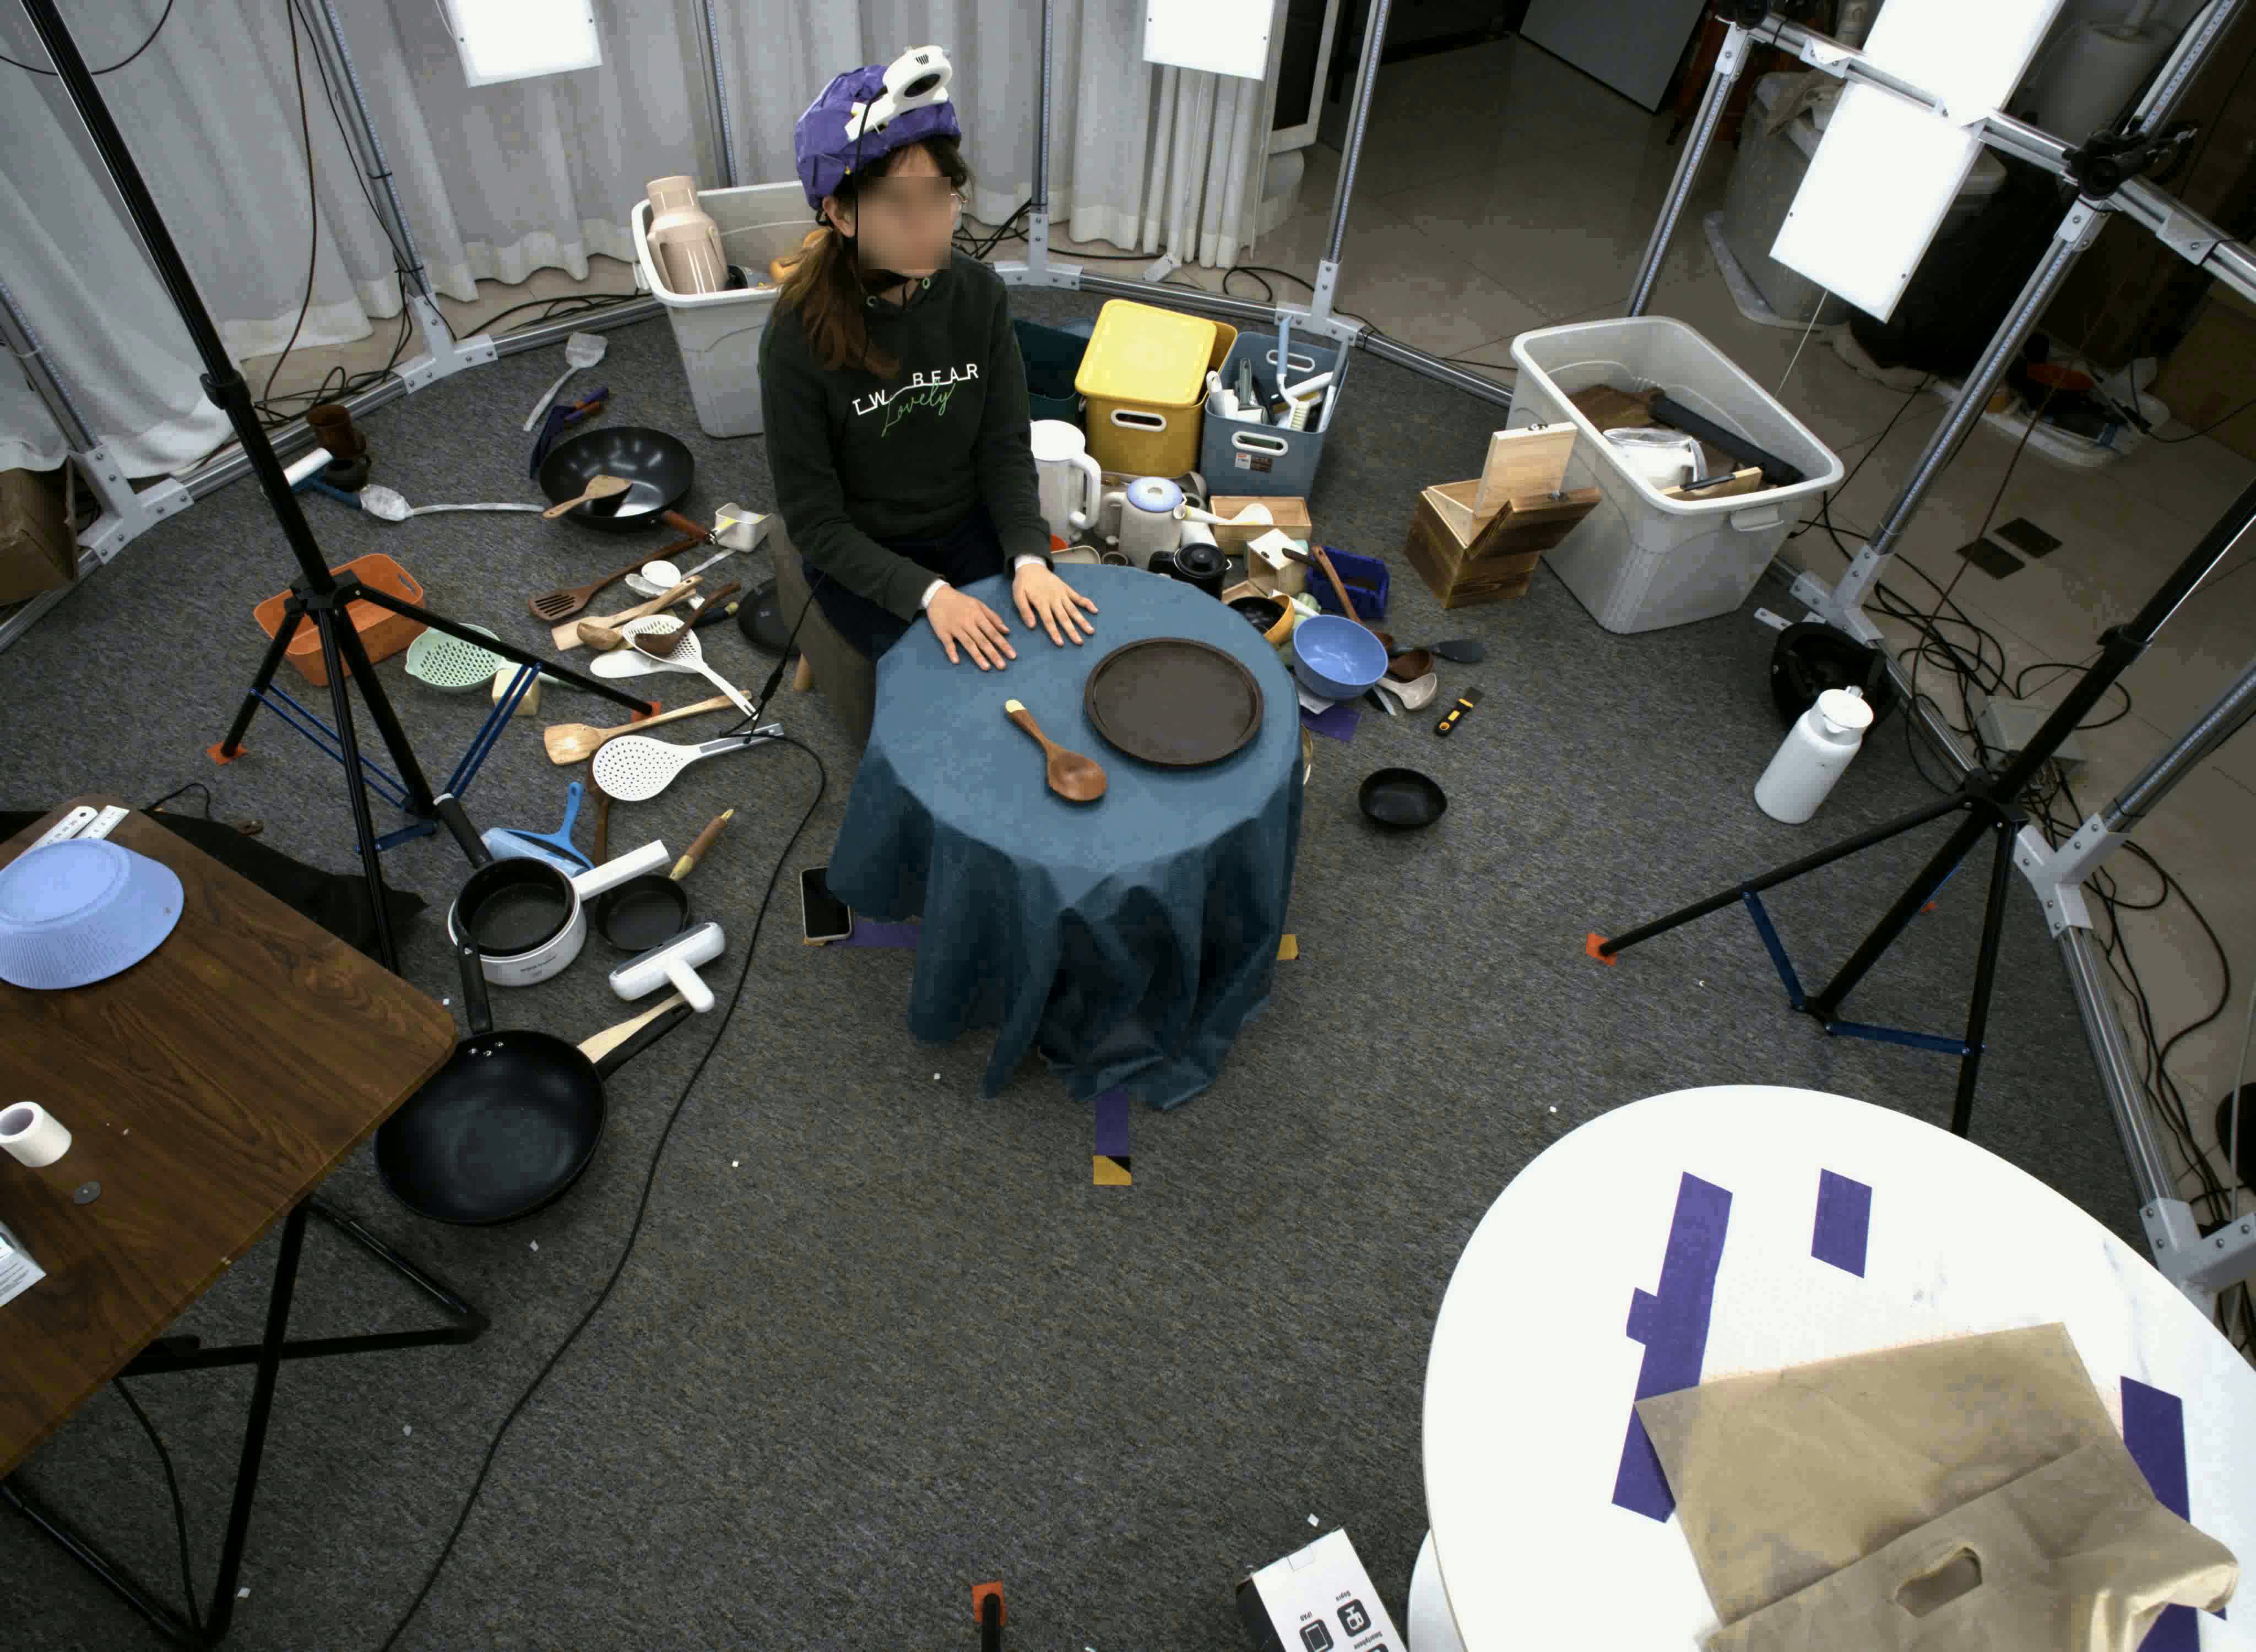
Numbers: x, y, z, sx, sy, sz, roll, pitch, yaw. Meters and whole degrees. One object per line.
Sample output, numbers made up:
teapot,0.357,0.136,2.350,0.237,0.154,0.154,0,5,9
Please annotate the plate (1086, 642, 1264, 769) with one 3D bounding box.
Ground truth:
plate,0.066,-0.174,1.826,0.254,0.028,0.261,3,48,-3

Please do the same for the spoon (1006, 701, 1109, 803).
spoon,-0.103,-0.103,1.755,0.076,0.017,0.220,-26,55,-24
